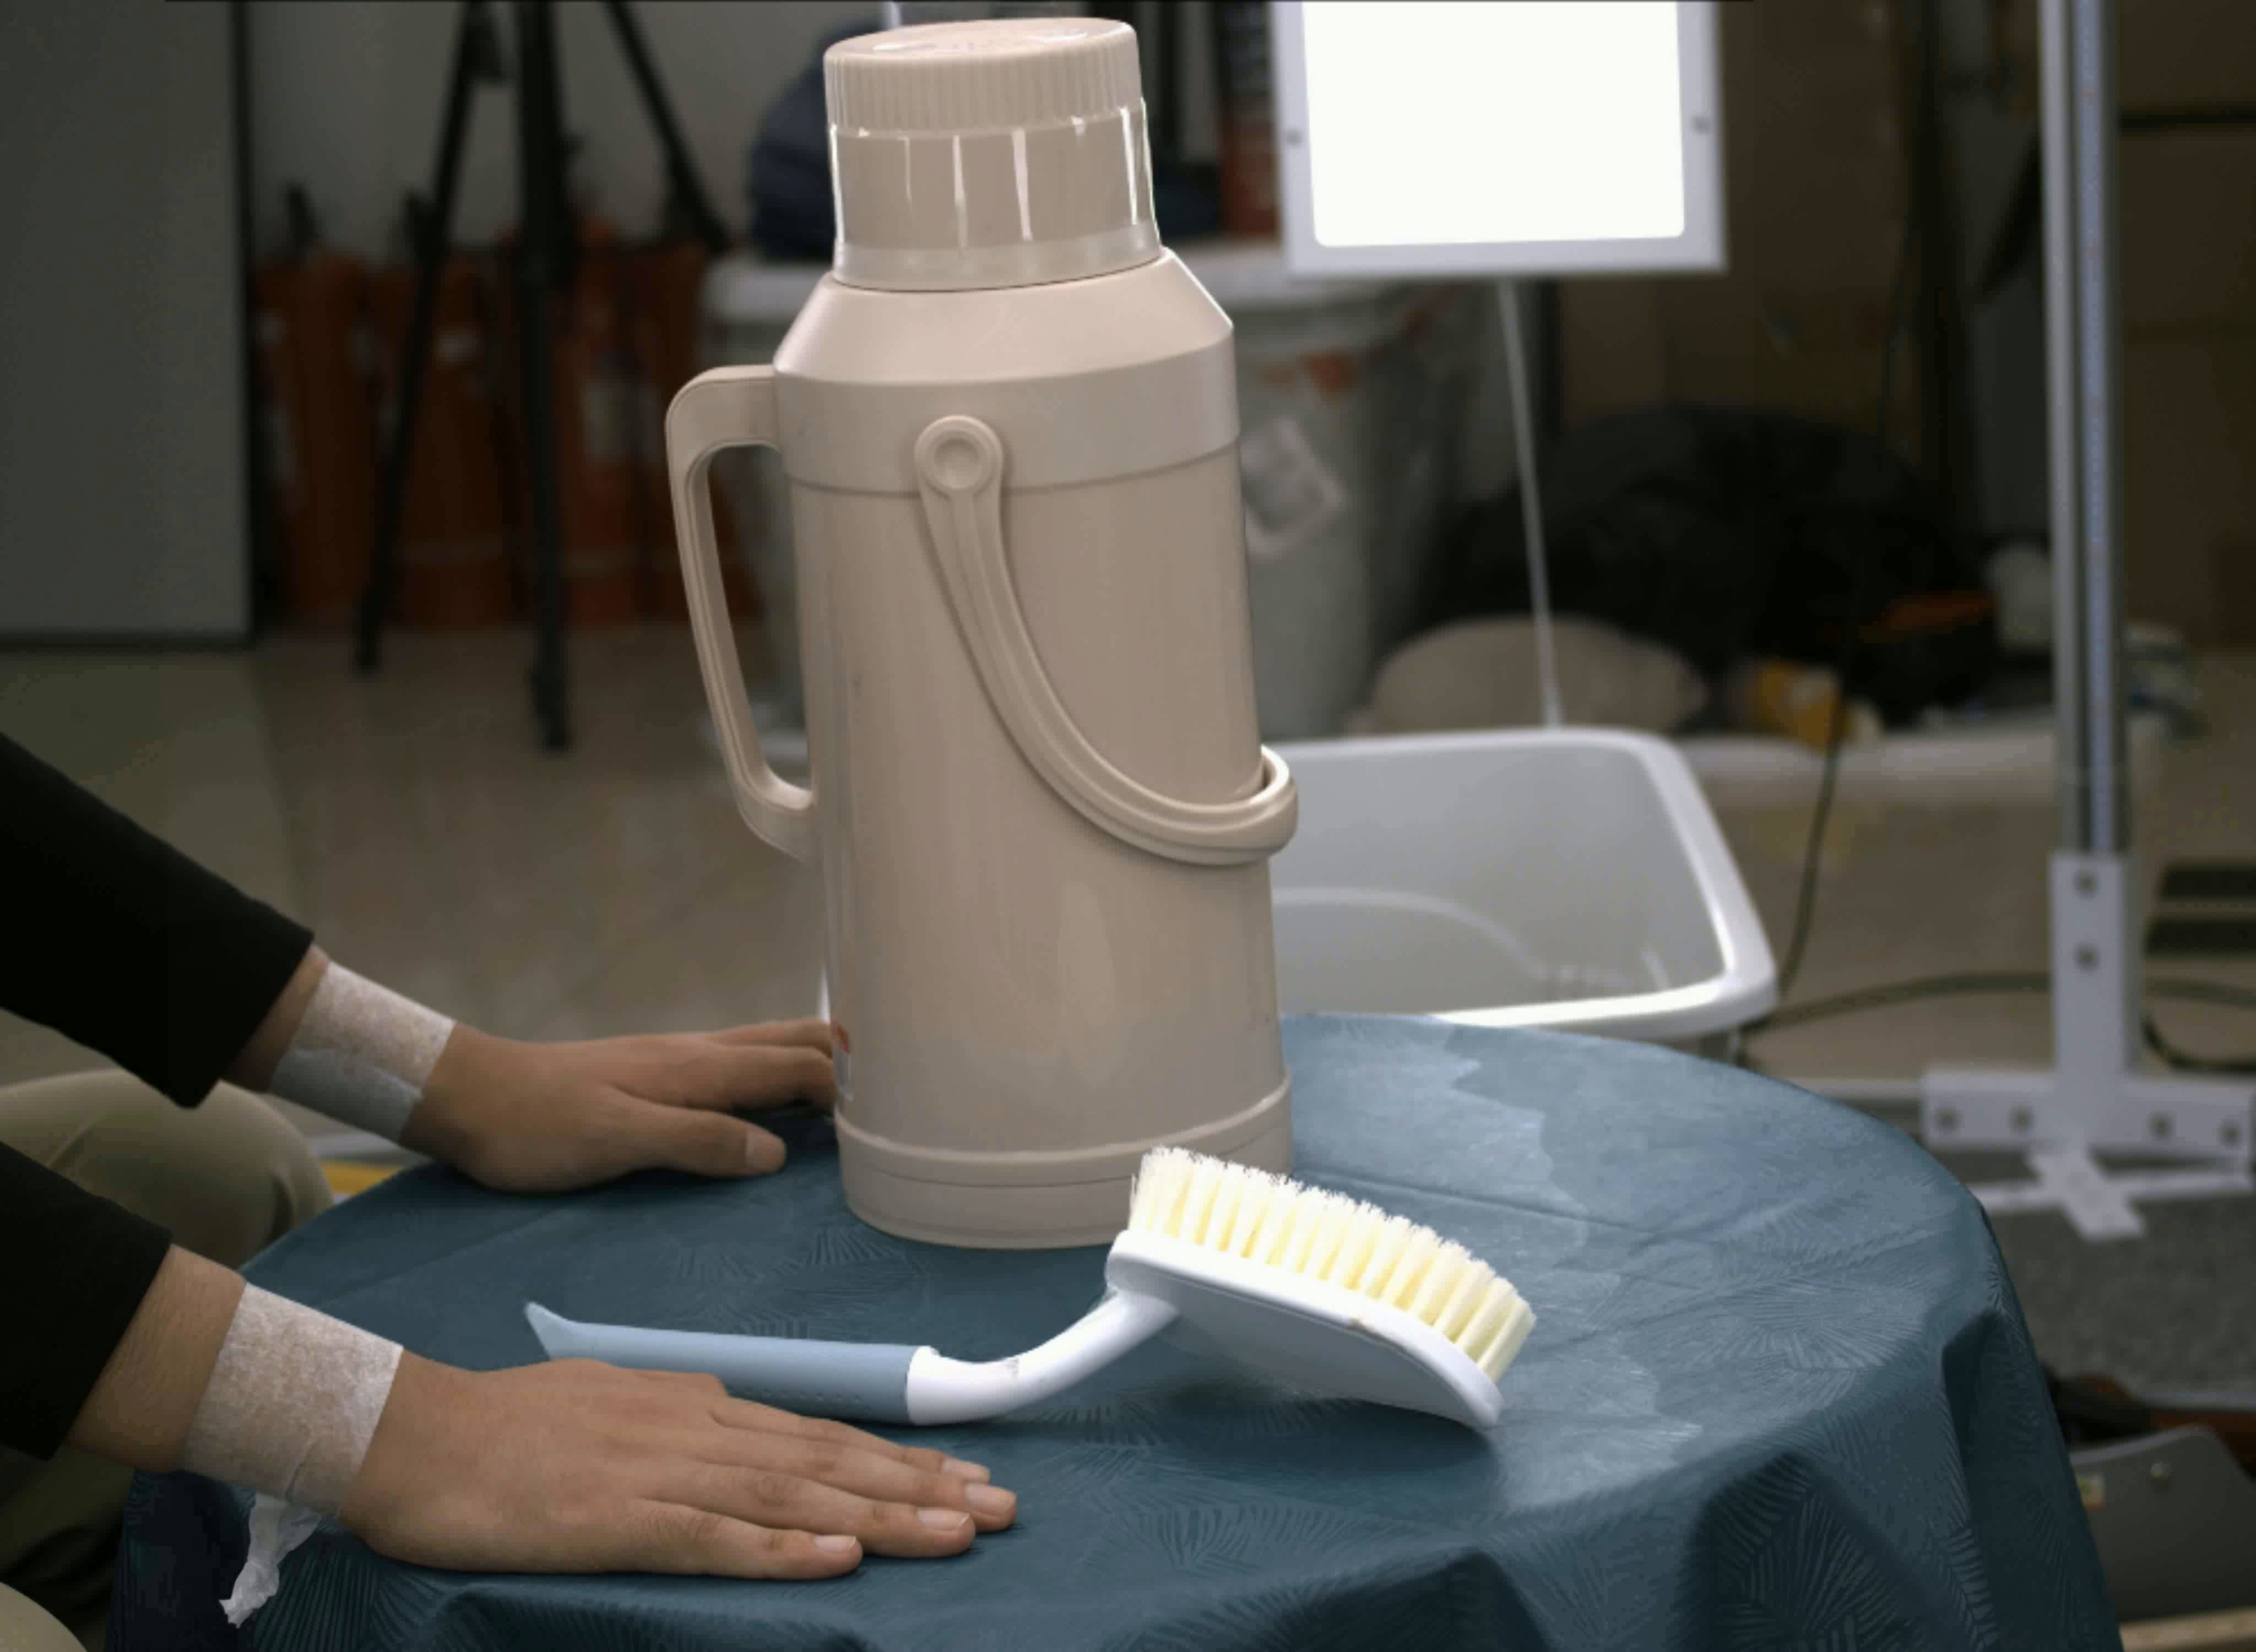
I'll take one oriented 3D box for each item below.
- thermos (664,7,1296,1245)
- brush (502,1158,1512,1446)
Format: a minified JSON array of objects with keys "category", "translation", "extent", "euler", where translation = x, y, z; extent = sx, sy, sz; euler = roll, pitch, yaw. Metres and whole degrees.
[{"category":"thermos","translation":[-0.049,-0.069,1.878],"extent":[0.208,0.408,0.173],"euler":[-1,16,11]},{"category":"brush","translation":[-0.039,0.139,1.694],"extent":[0.330,0.083,0.083],"euler":[2,21,21]}]
